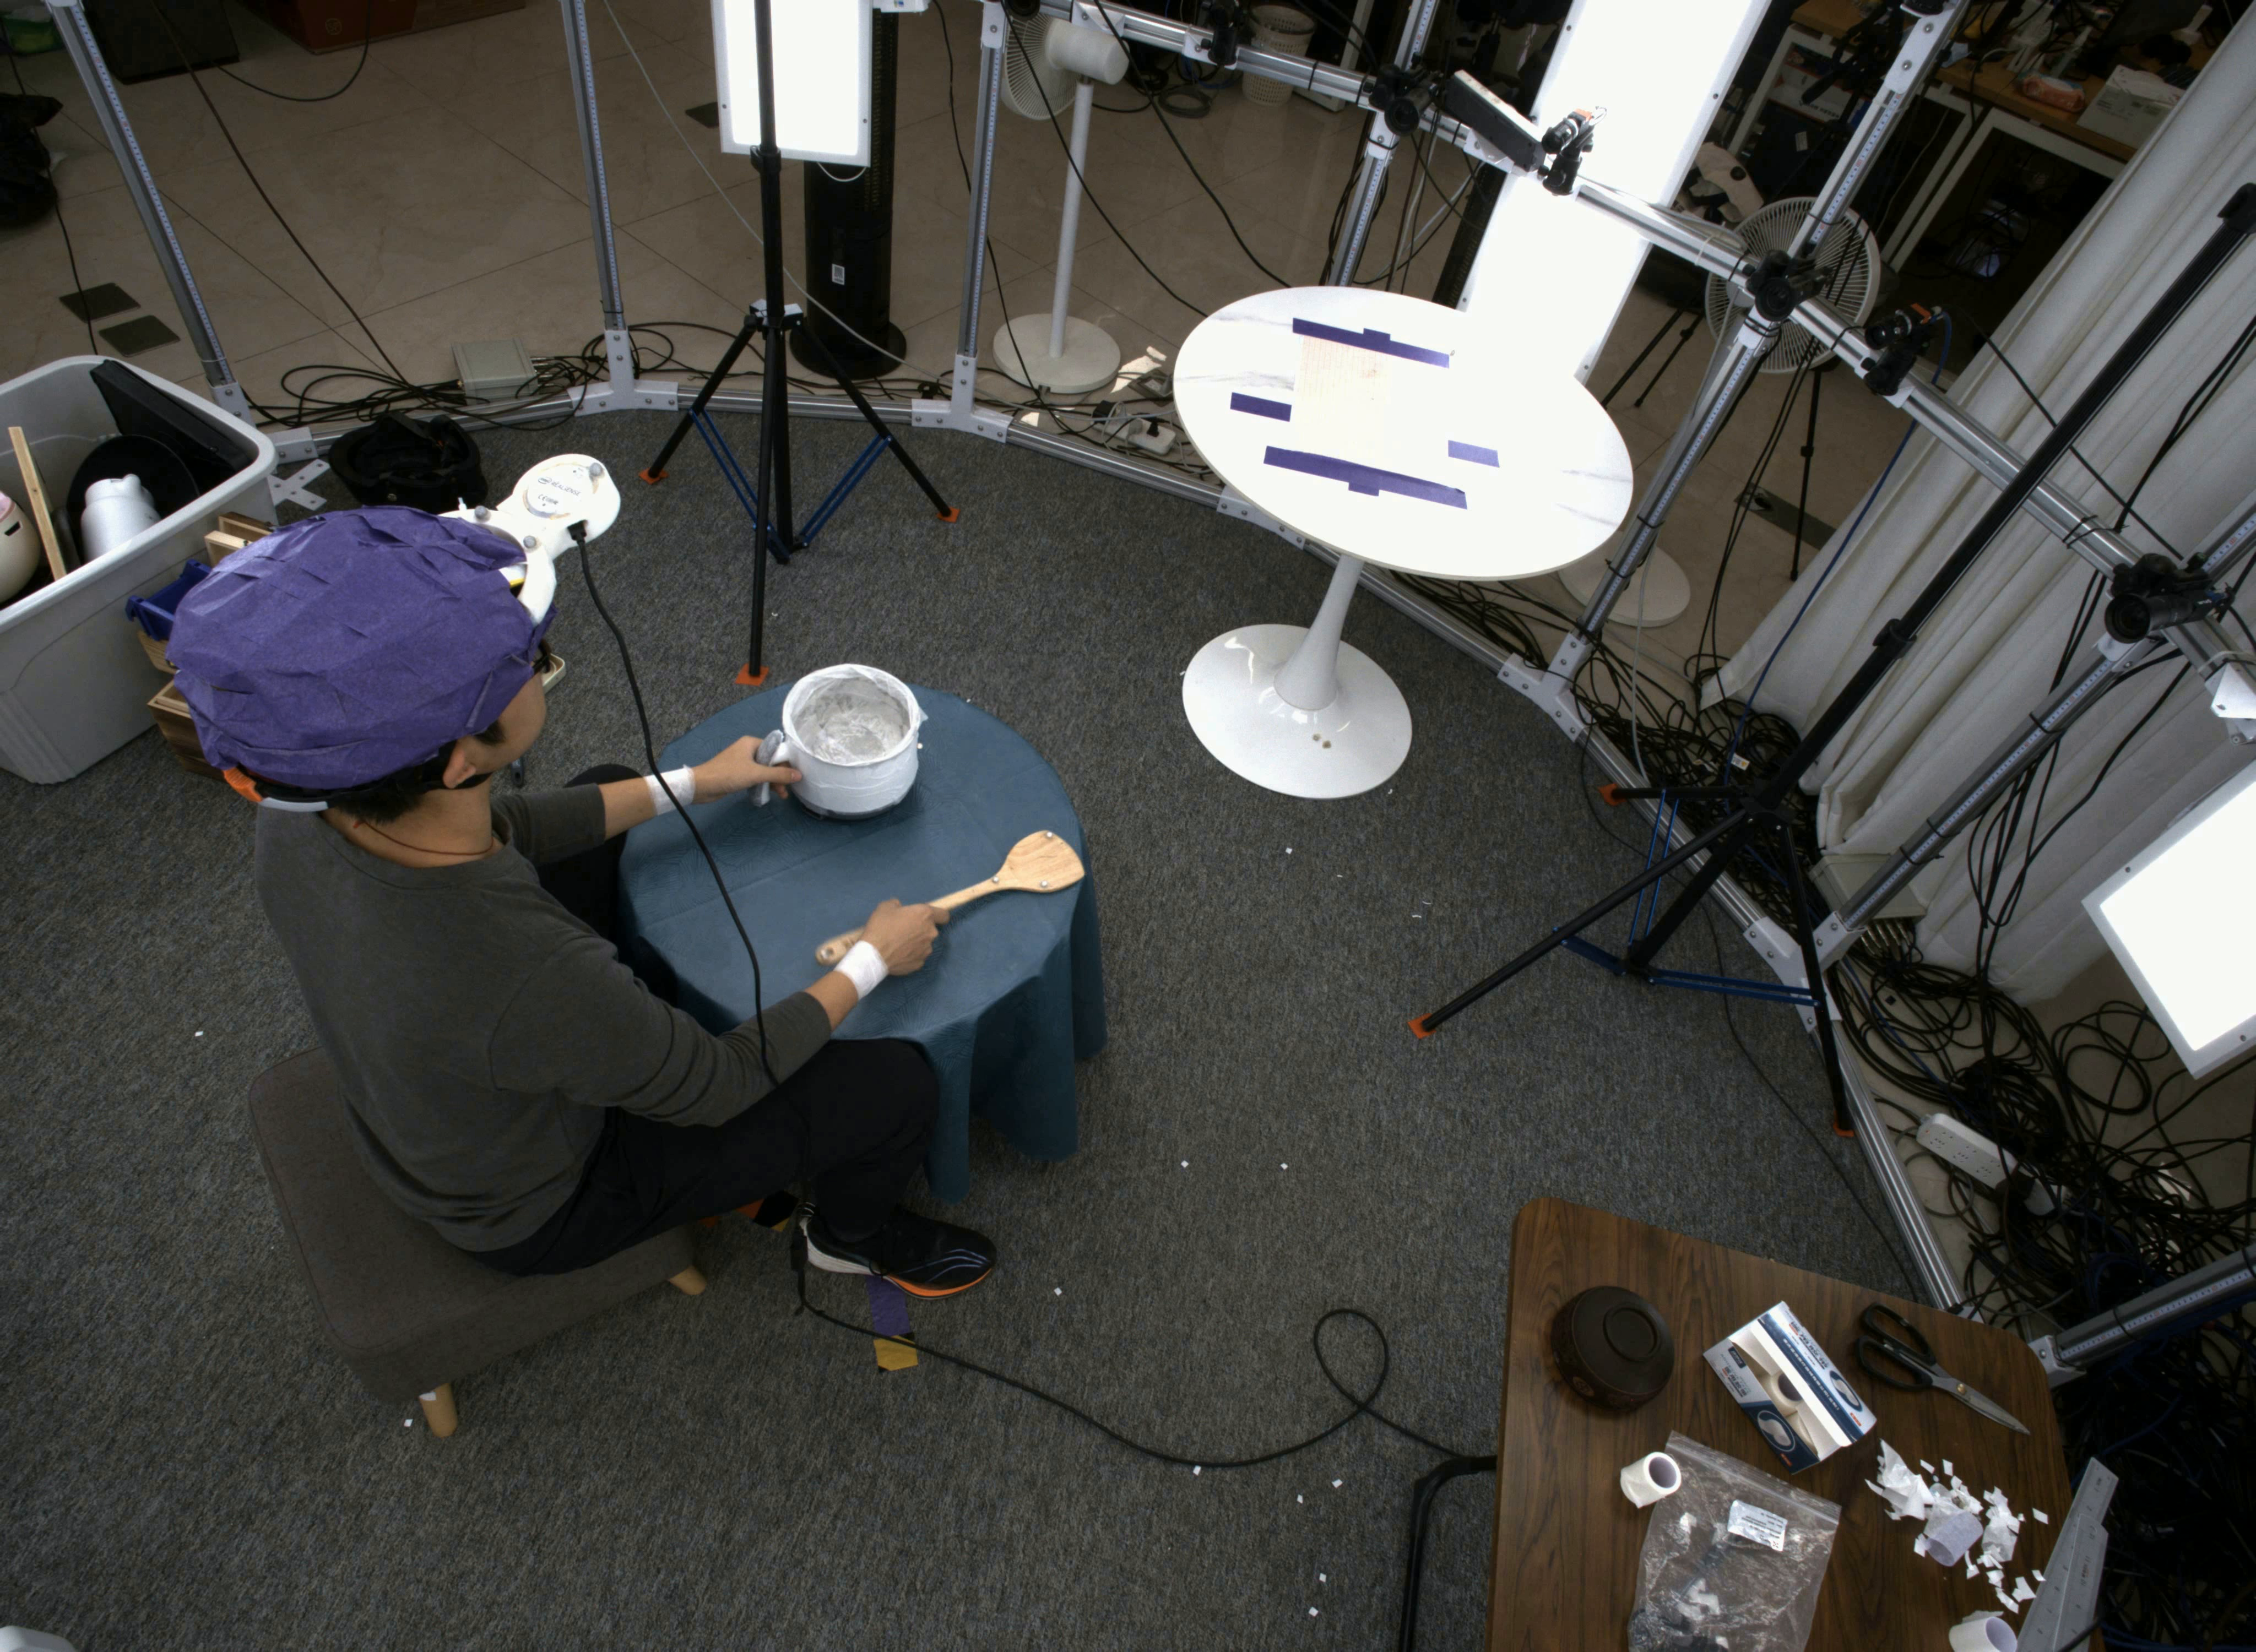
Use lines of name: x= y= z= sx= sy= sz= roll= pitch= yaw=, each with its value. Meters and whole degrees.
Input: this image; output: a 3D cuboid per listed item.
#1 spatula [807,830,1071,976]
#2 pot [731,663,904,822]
spatula: x=-0.239 y=0.104 z=1.680 sx=0.393 sy=0.019 sz=0.093 roll=-26 pitch=63 yaw=-36
pot: x=-0.414 y=-0.098 z=1.722 sx=0.235 sy=0.139 sz=0.174 roll=-22 pitch=61 yaw=-27
